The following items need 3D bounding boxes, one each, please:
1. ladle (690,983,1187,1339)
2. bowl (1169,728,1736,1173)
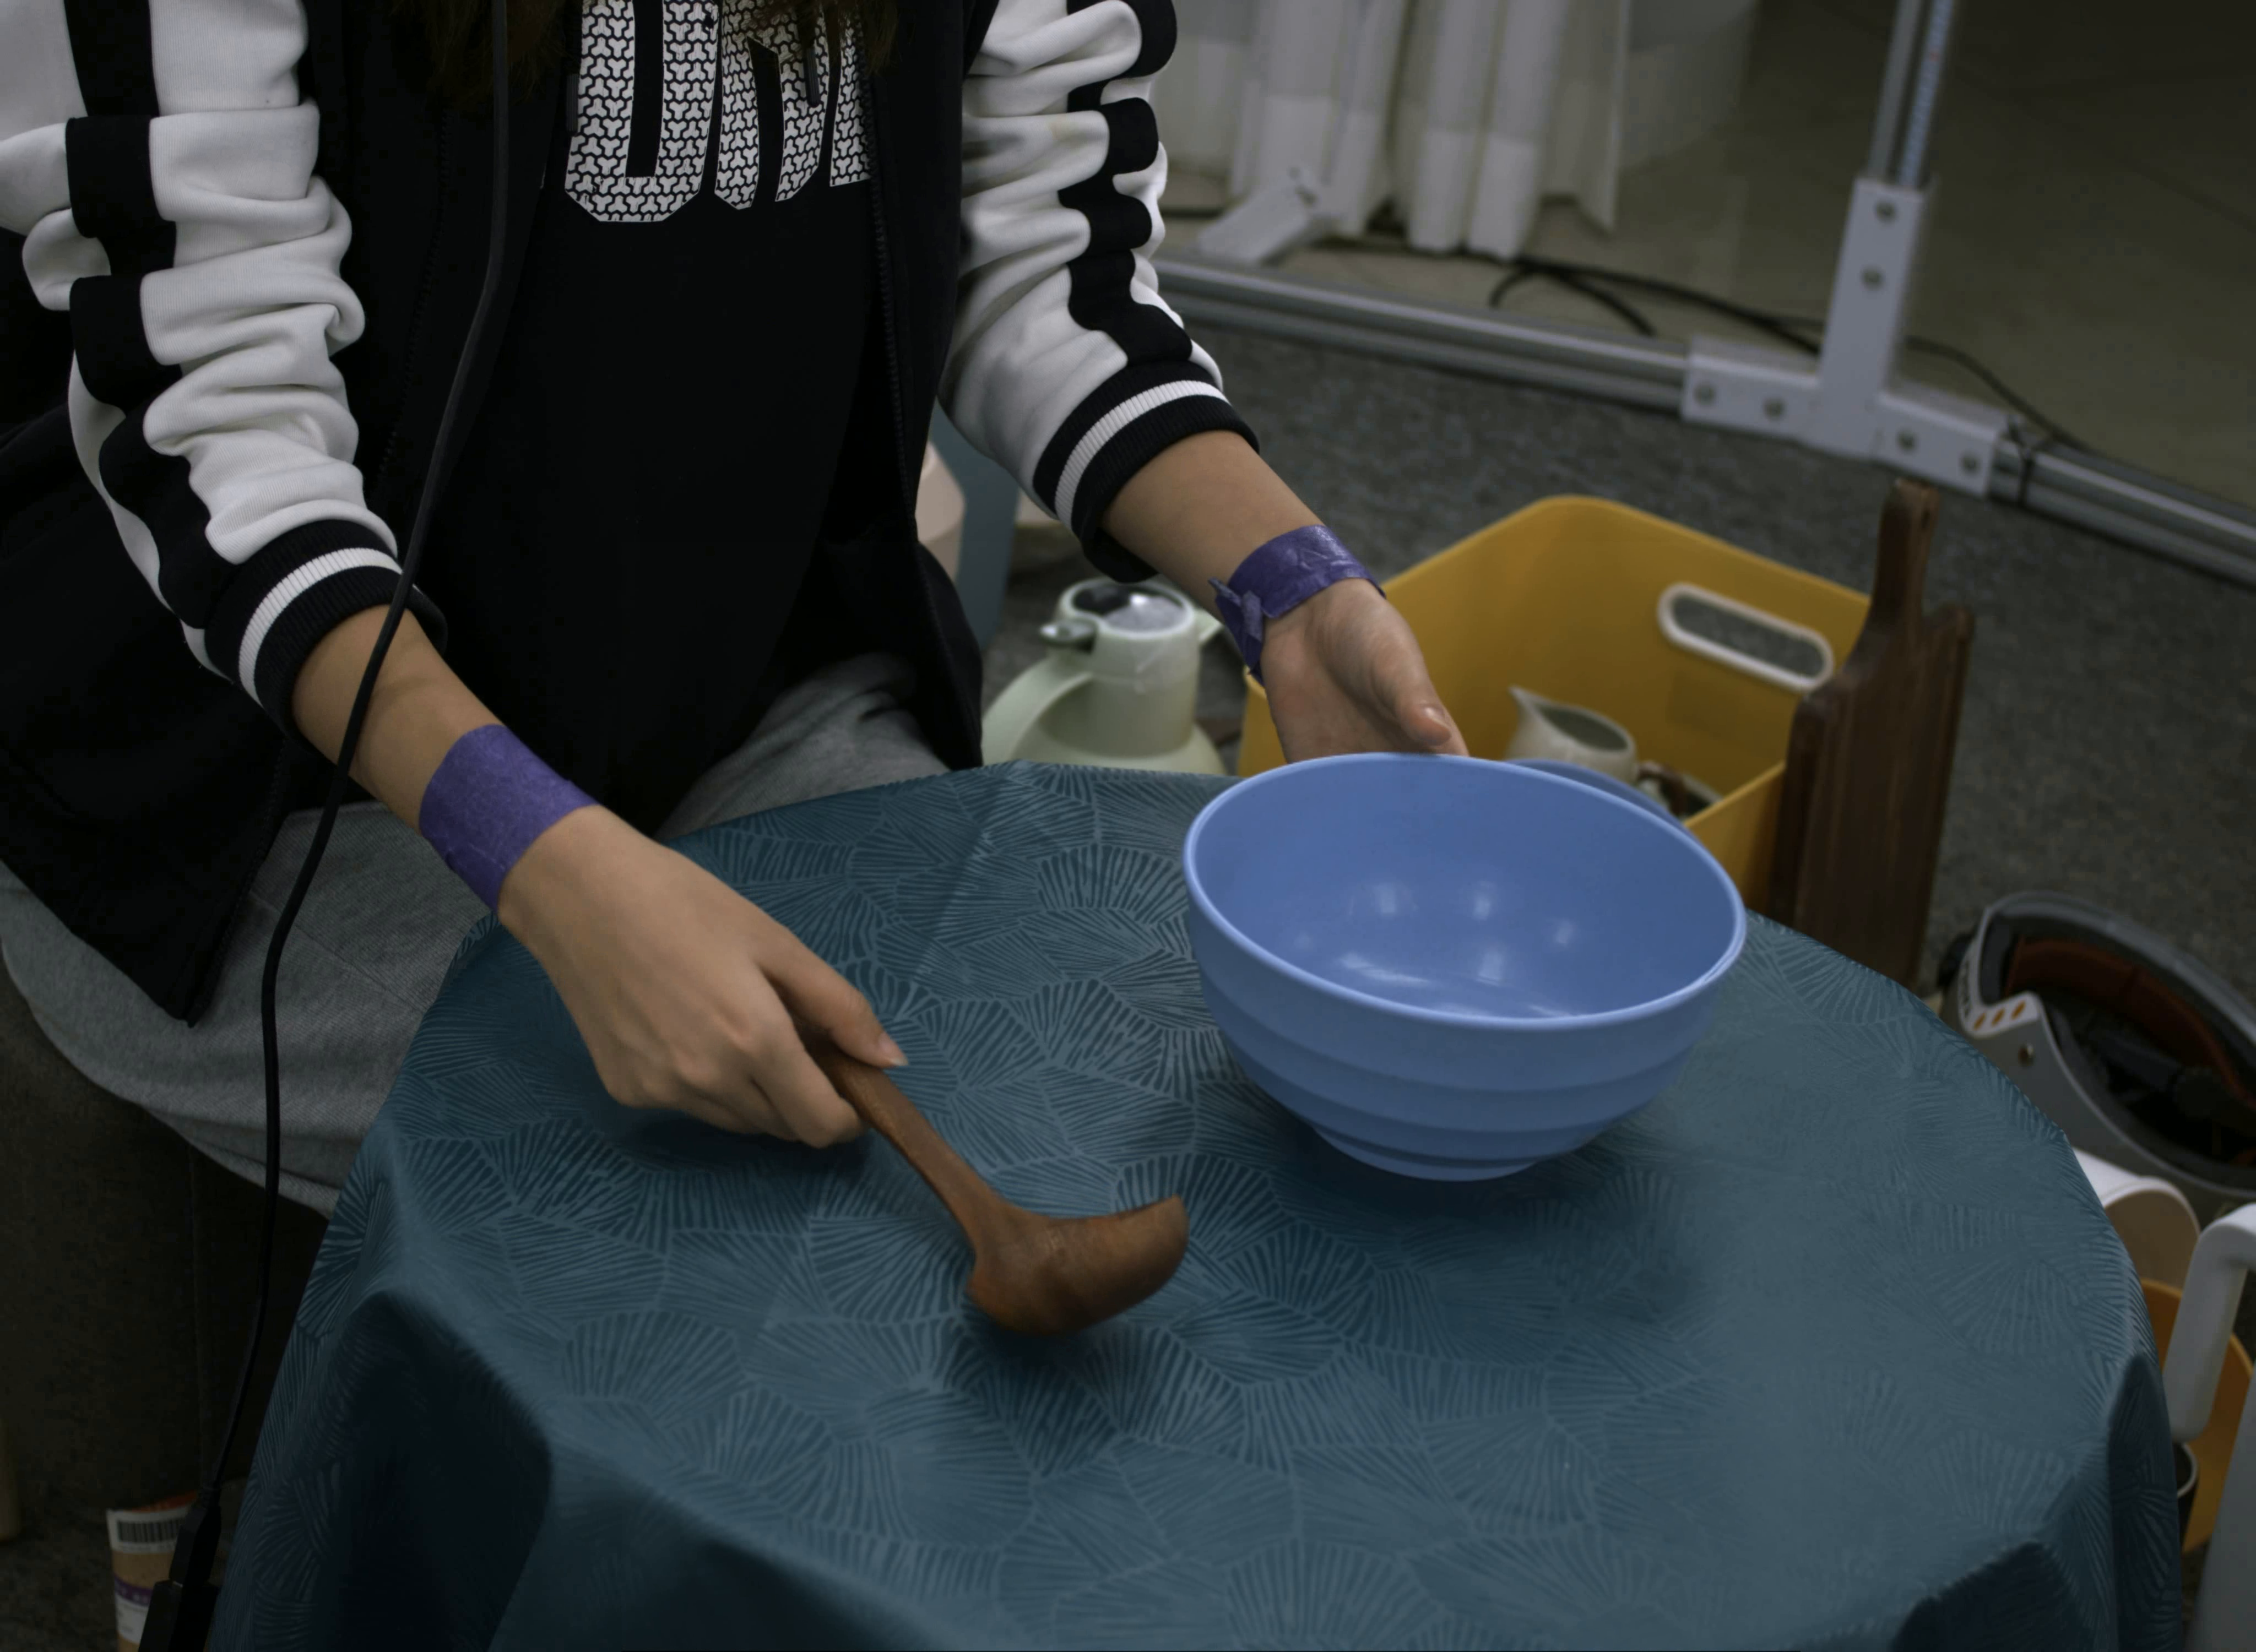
[{"bbox_3d":[-0.073,0.096,1.768,0.076,0.065,0.262,-19,37,-29],"label":"ladle"},{"bbox_3d":[0.108,0.056,1.856,0.196,0.095,0.198,3,33,-2],"label":"bowl"}]
